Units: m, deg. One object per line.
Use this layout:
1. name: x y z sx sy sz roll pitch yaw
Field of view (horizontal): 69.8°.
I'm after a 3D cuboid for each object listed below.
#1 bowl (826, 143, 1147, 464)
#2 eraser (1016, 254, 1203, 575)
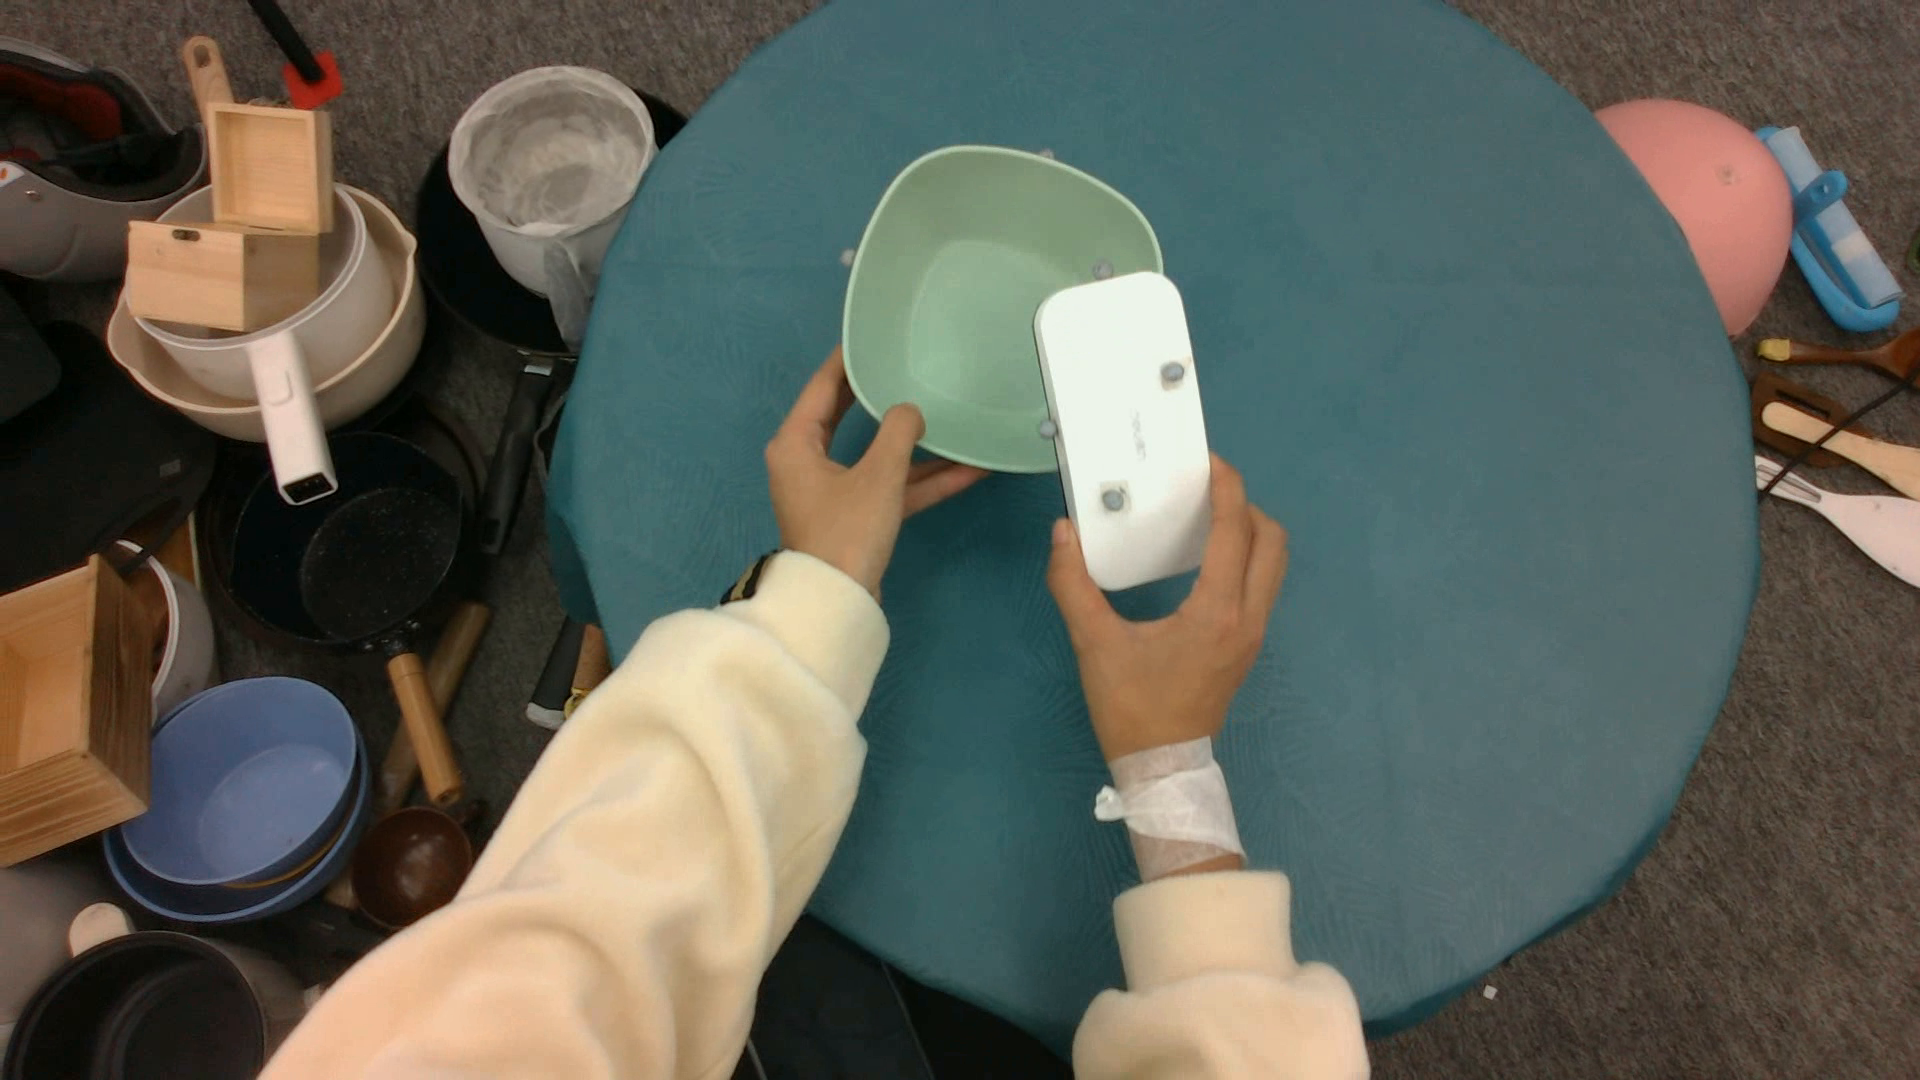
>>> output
1. bowl: 0.011 -0.104 0.634 0.151 0.058 0.151 0 88 -3
2. eraser: 0.061 -0.052 0.578 0.063 0.034 0.131 -14 105 -10
